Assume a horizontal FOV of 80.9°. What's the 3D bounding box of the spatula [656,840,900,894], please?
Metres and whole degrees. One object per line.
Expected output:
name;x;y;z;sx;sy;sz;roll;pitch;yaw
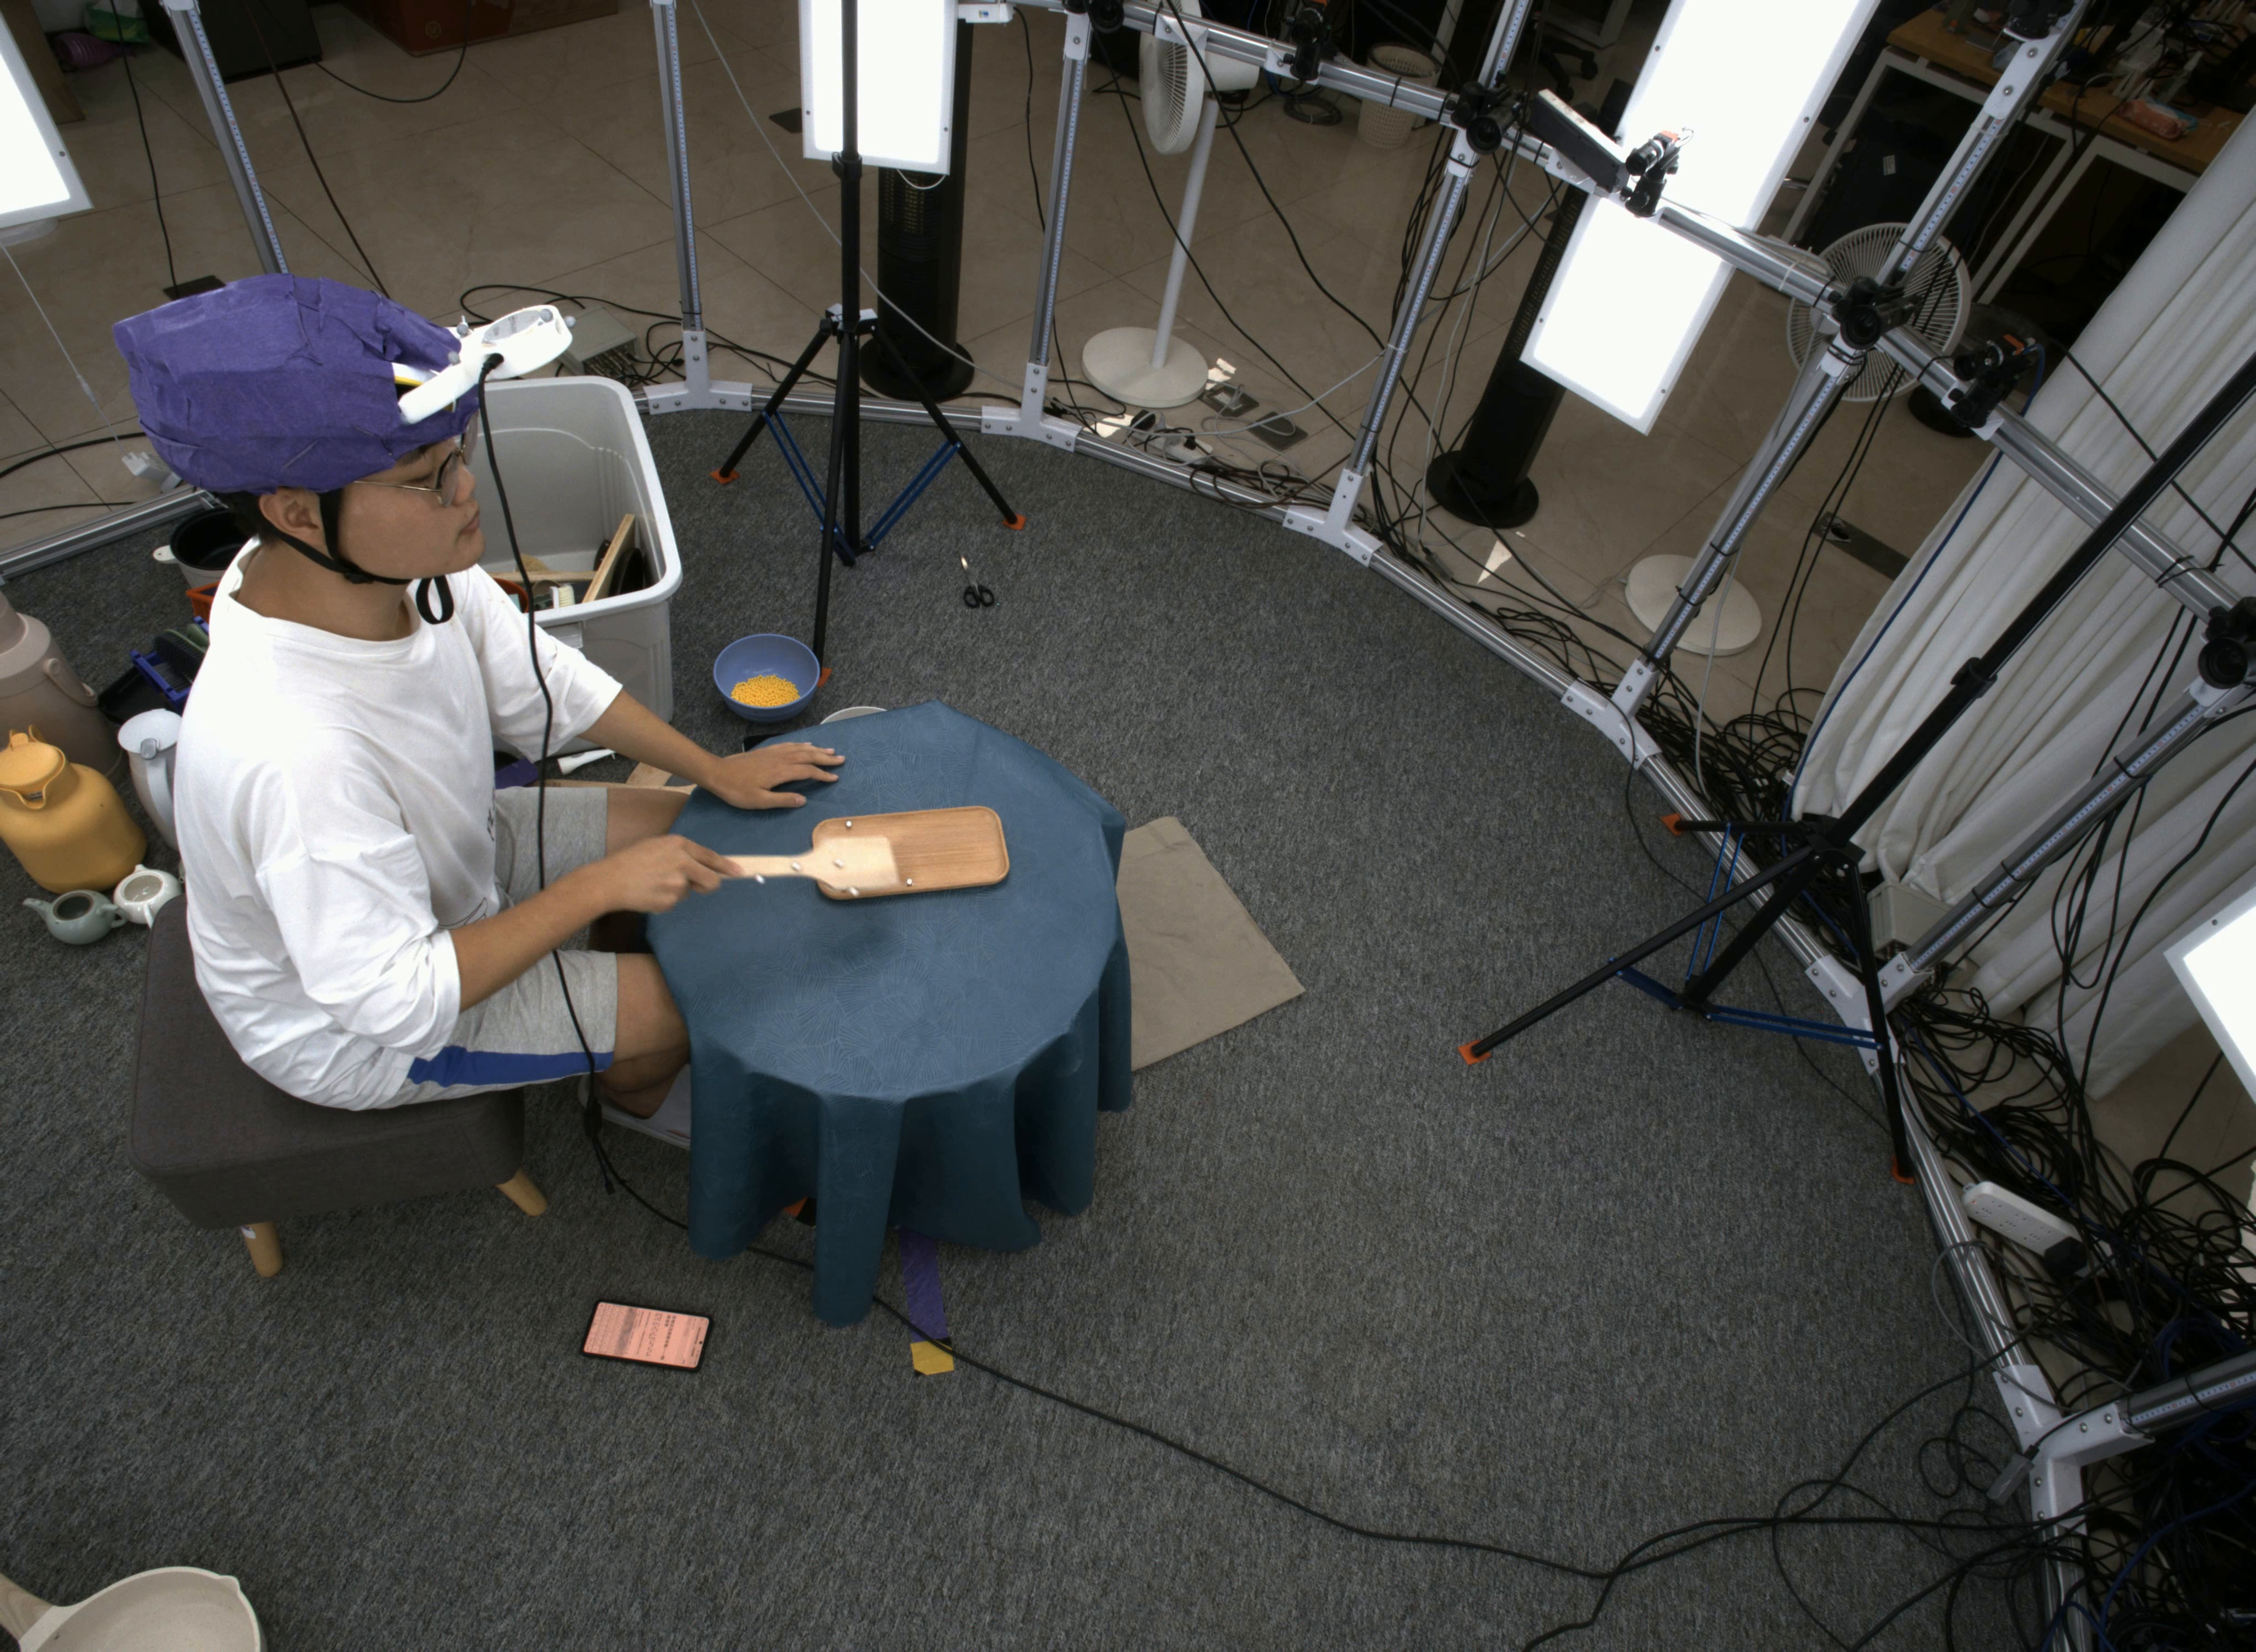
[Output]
spatula;-0.410;0.050;1.532;0.298;0.010;0.071;-1;63;-35

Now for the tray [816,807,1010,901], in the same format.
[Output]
tray;-0.286;0.036;1.731;0.251;0.023;0.128;-4;58;-16
